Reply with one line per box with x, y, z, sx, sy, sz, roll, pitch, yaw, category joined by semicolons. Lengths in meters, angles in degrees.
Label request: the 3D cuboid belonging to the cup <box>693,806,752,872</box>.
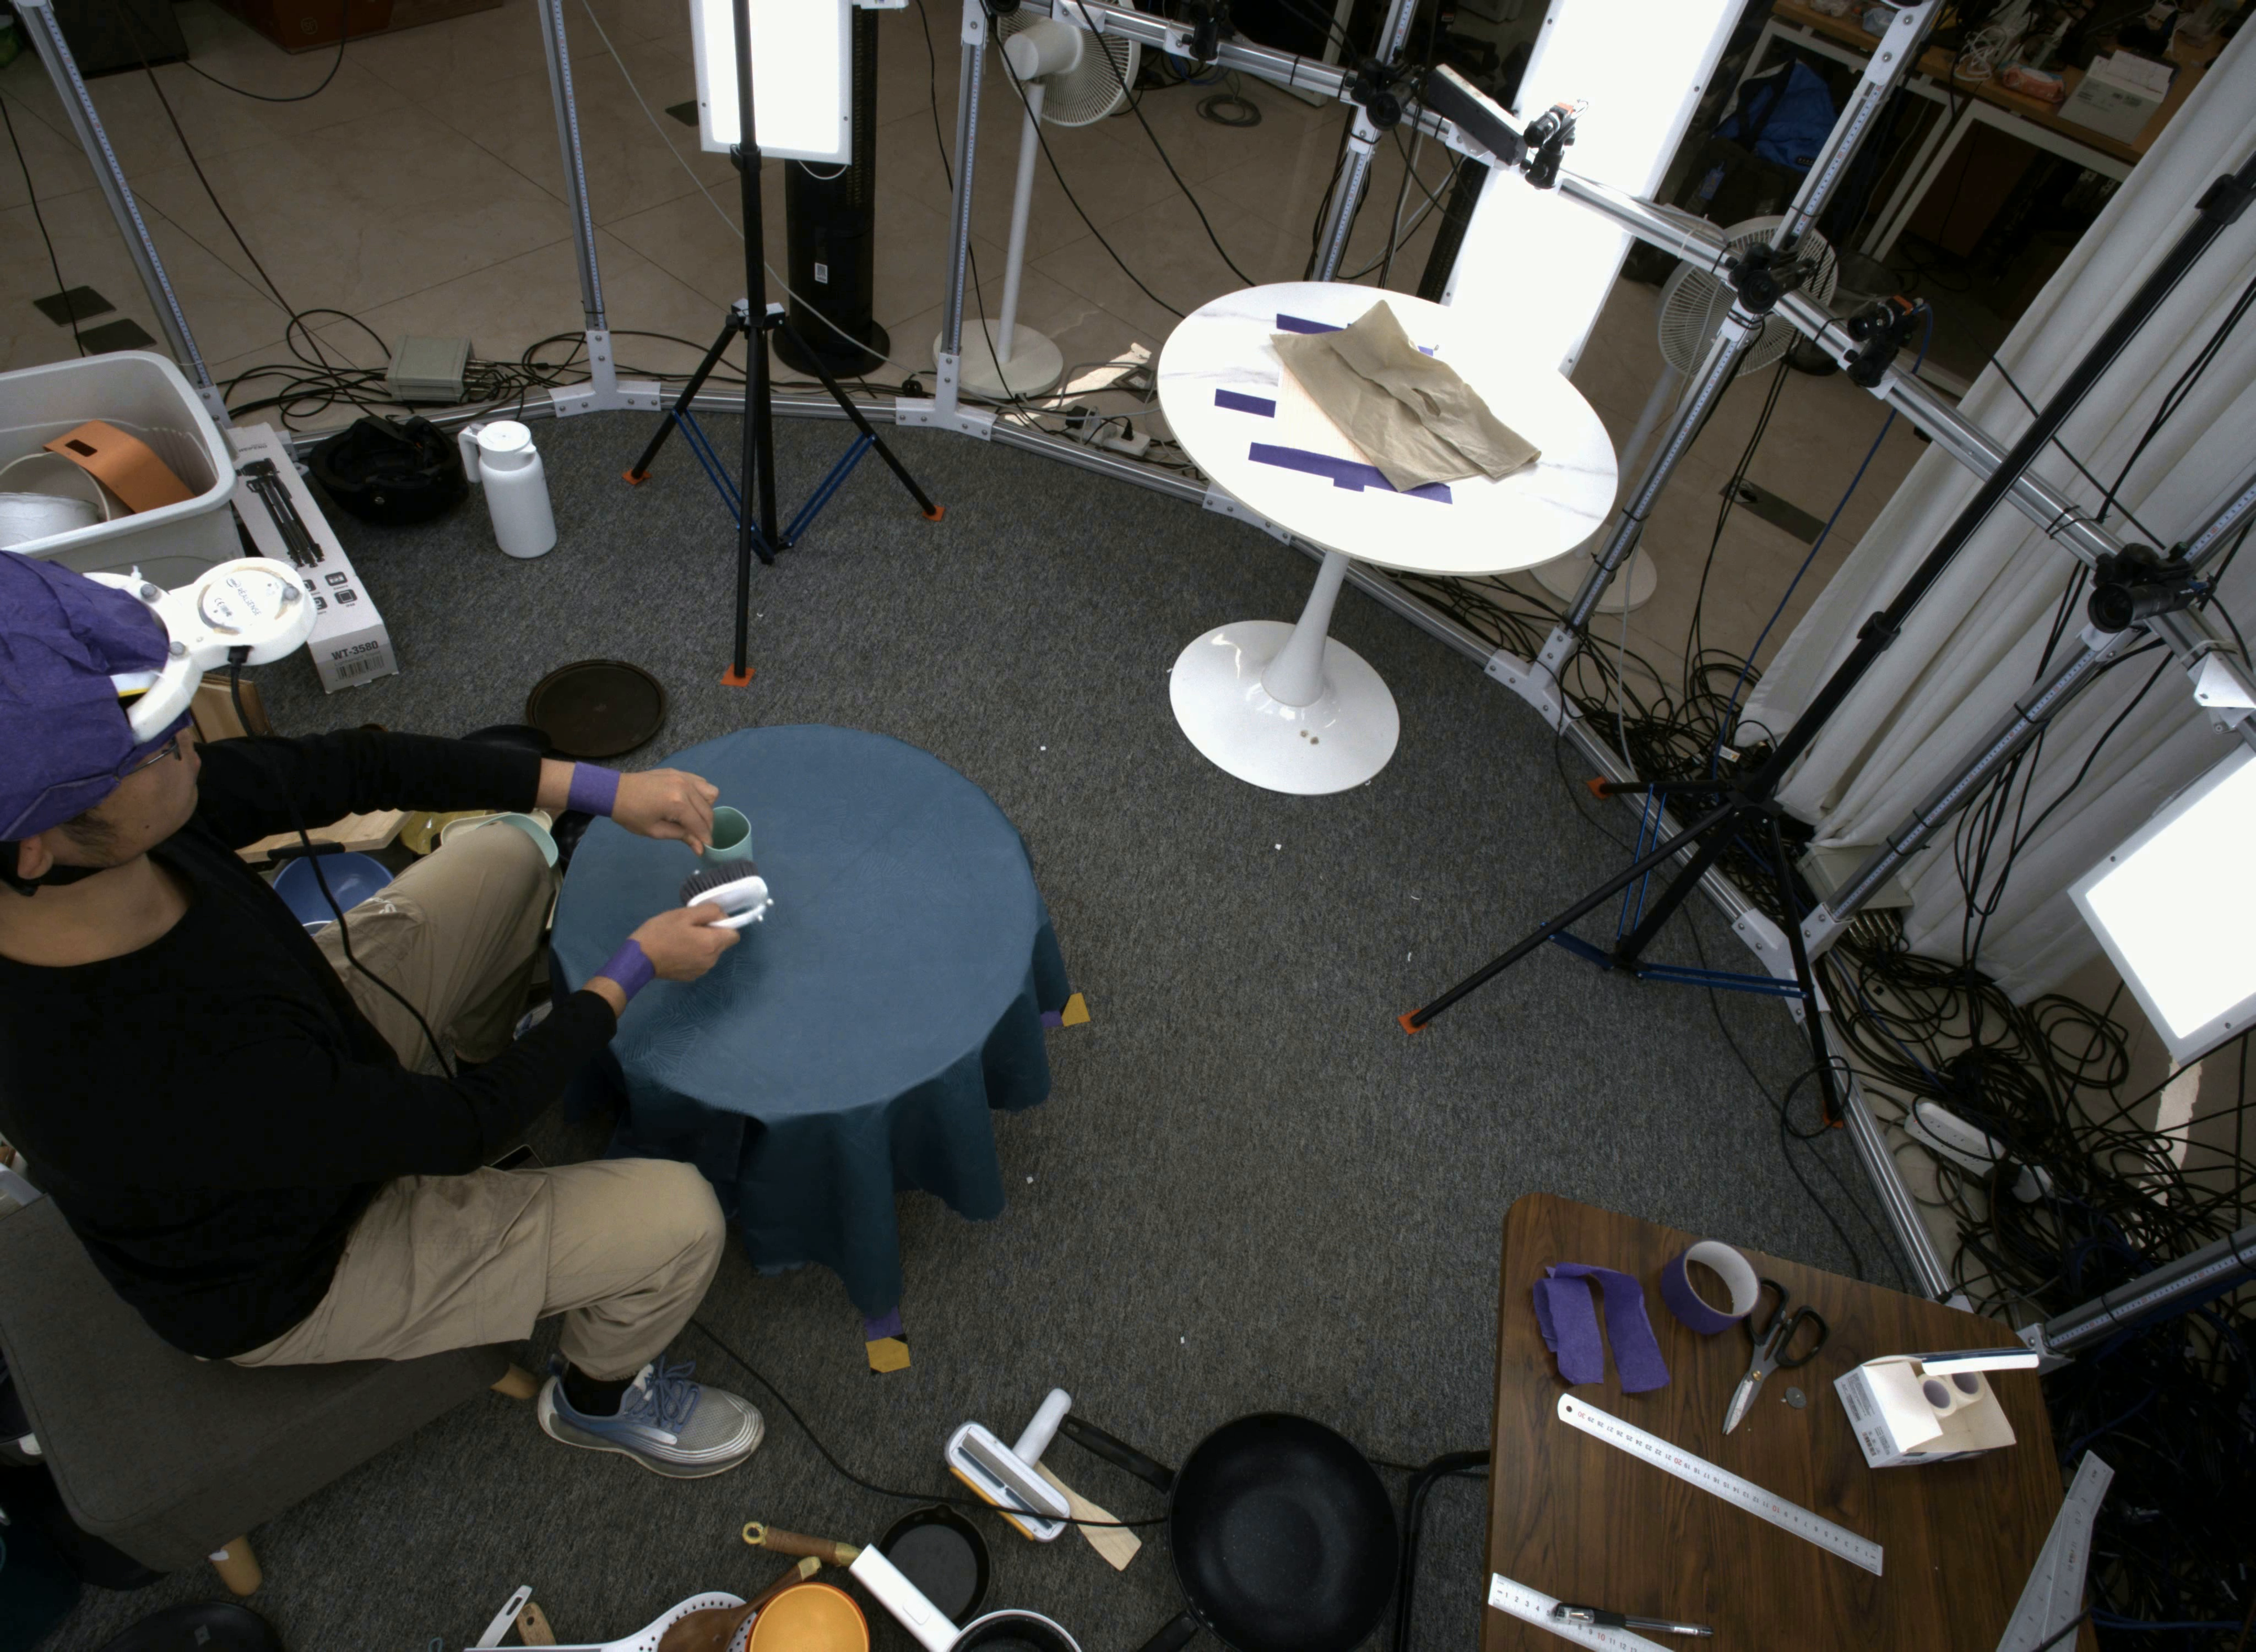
-0.498;0.042;1.598;0.066;0.135;0.065;7;51;-7;cup

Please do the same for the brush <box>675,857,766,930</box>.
-0.478;0.085;1.537;0.100;0.051;0.071;-21;60;-33;brush
